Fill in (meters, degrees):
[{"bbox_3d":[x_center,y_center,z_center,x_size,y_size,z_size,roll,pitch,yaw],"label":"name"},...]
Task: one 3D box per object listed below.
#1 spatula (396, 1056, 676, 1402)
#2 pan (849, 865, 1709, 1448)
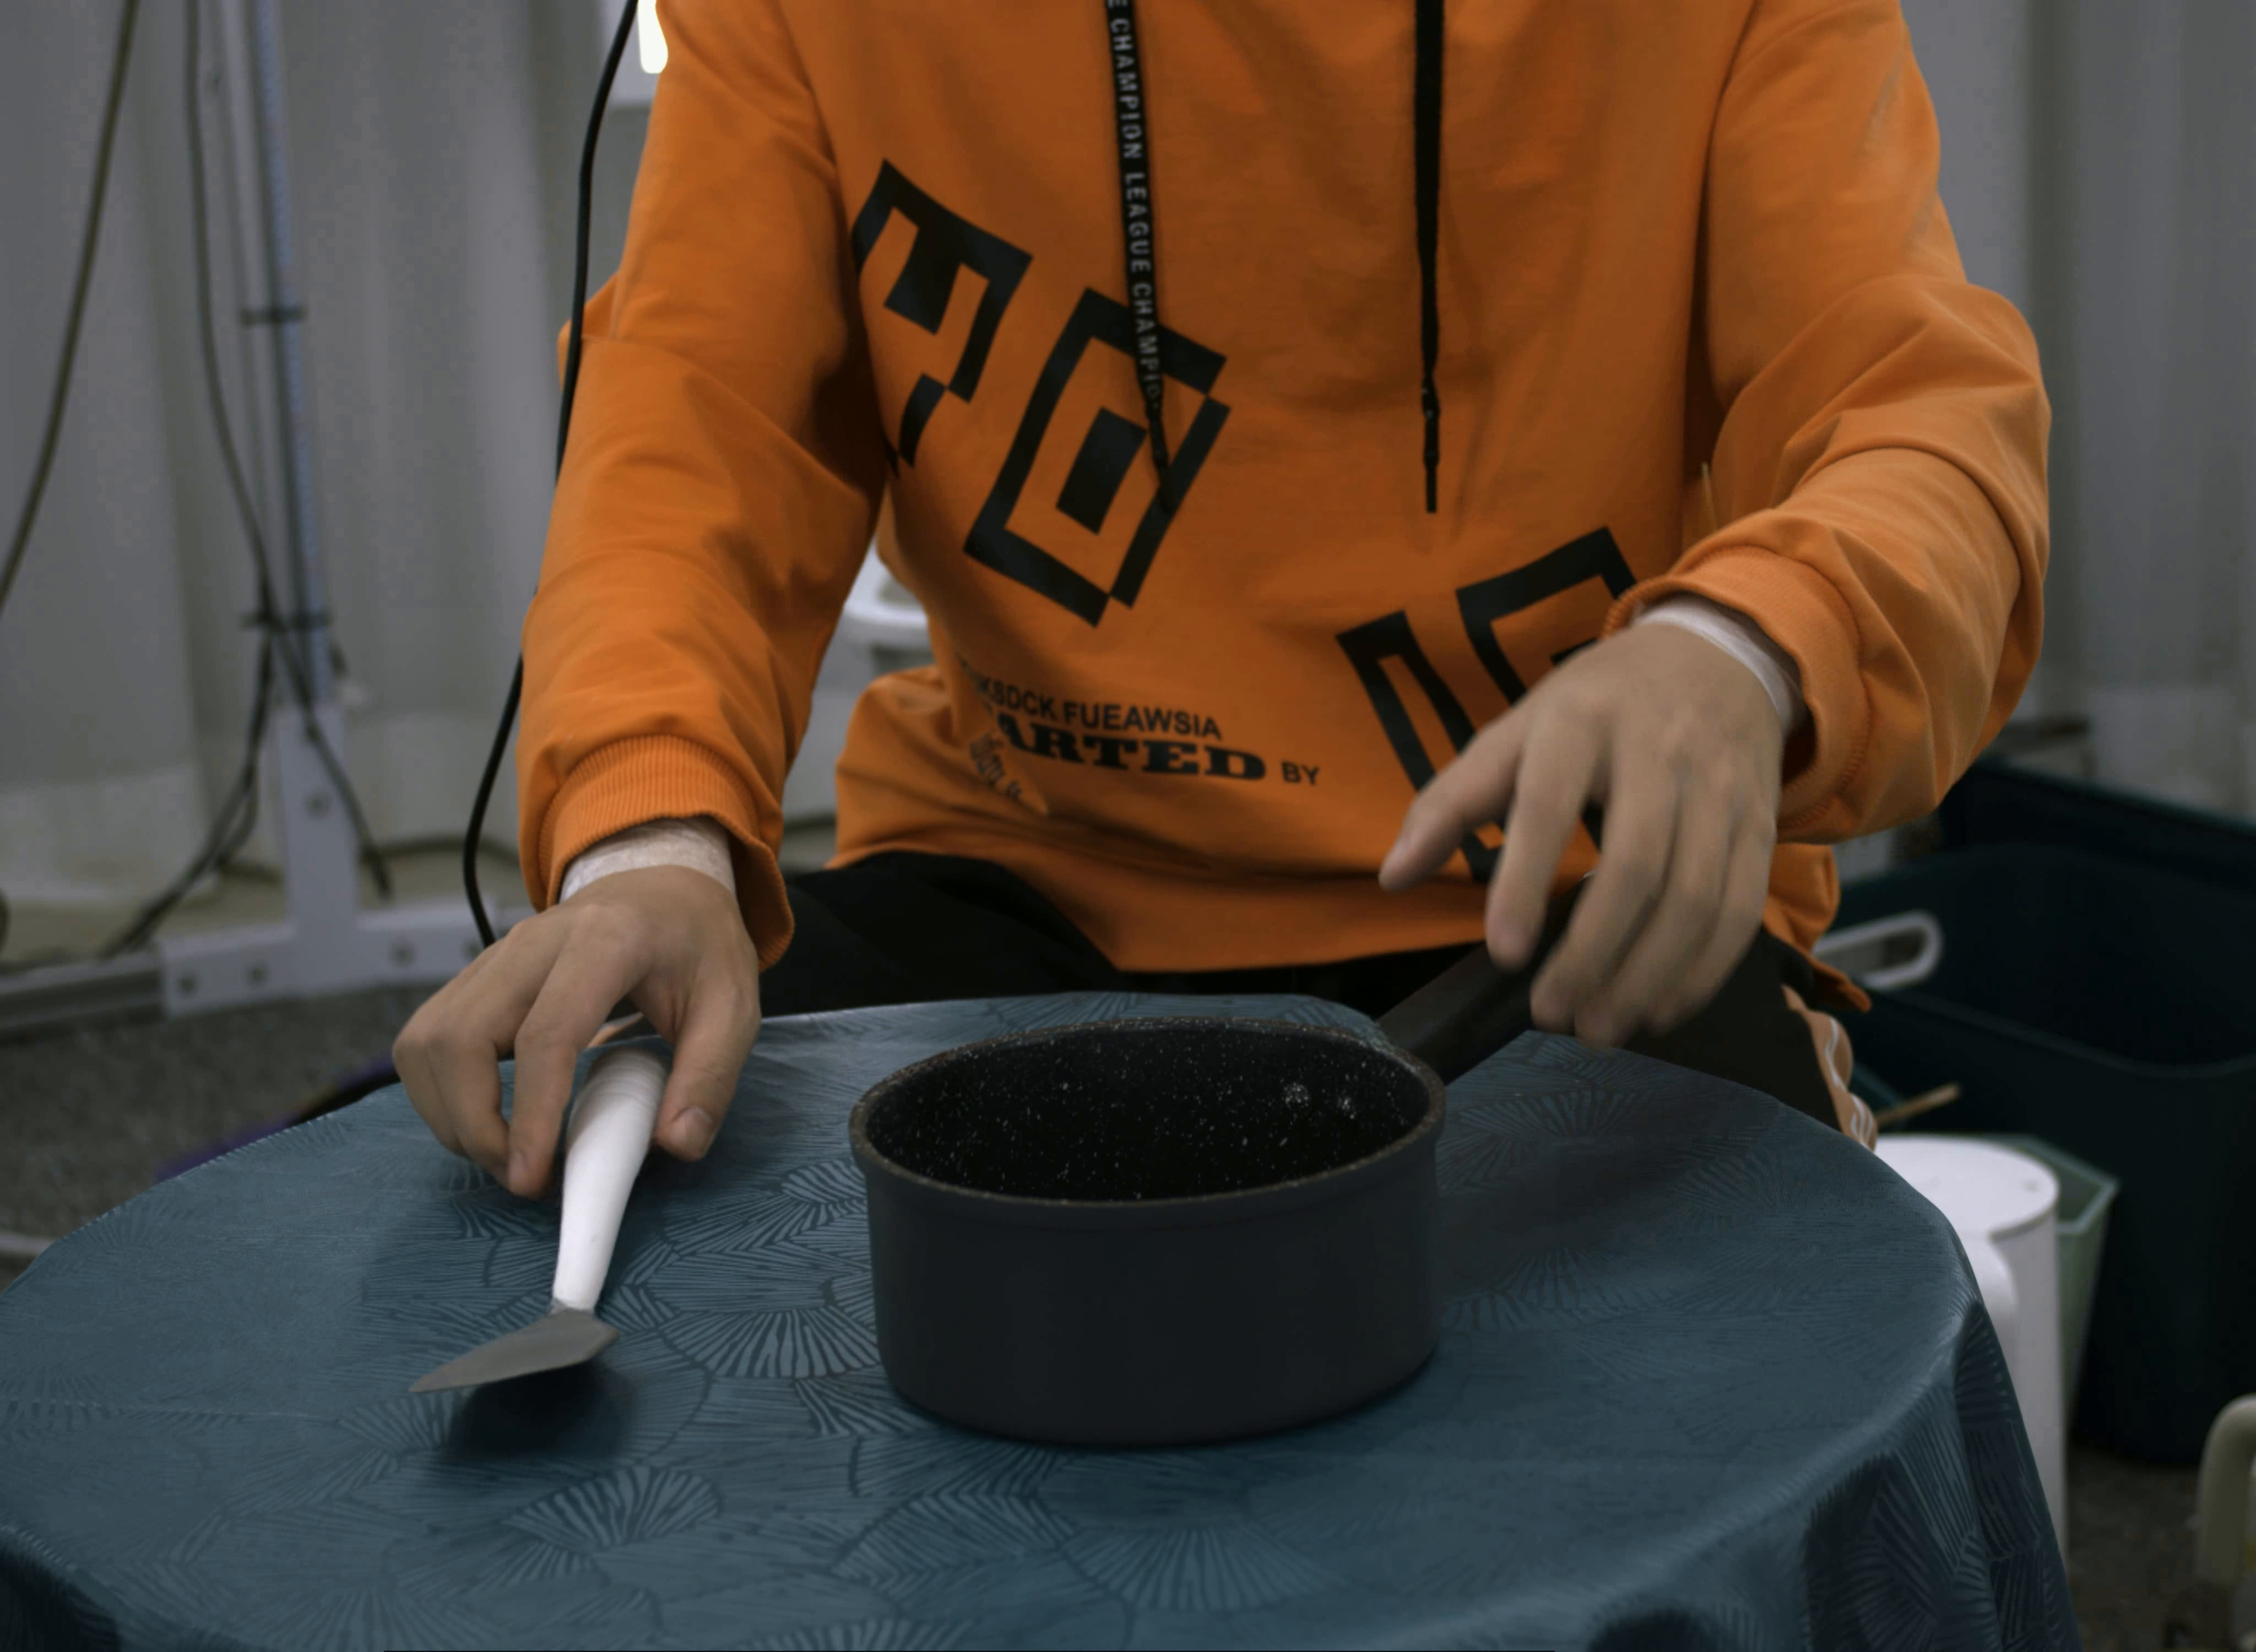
[{"bbox_3d":[-0.168,0.126,1.645,0.058,0.032,0.289,-6,14,4],"label":"spatula"},{"bbox_3d":[0.061,0.094,1.619,0.173,0.086,0.328,12,23,42],"label":"pan"}]
